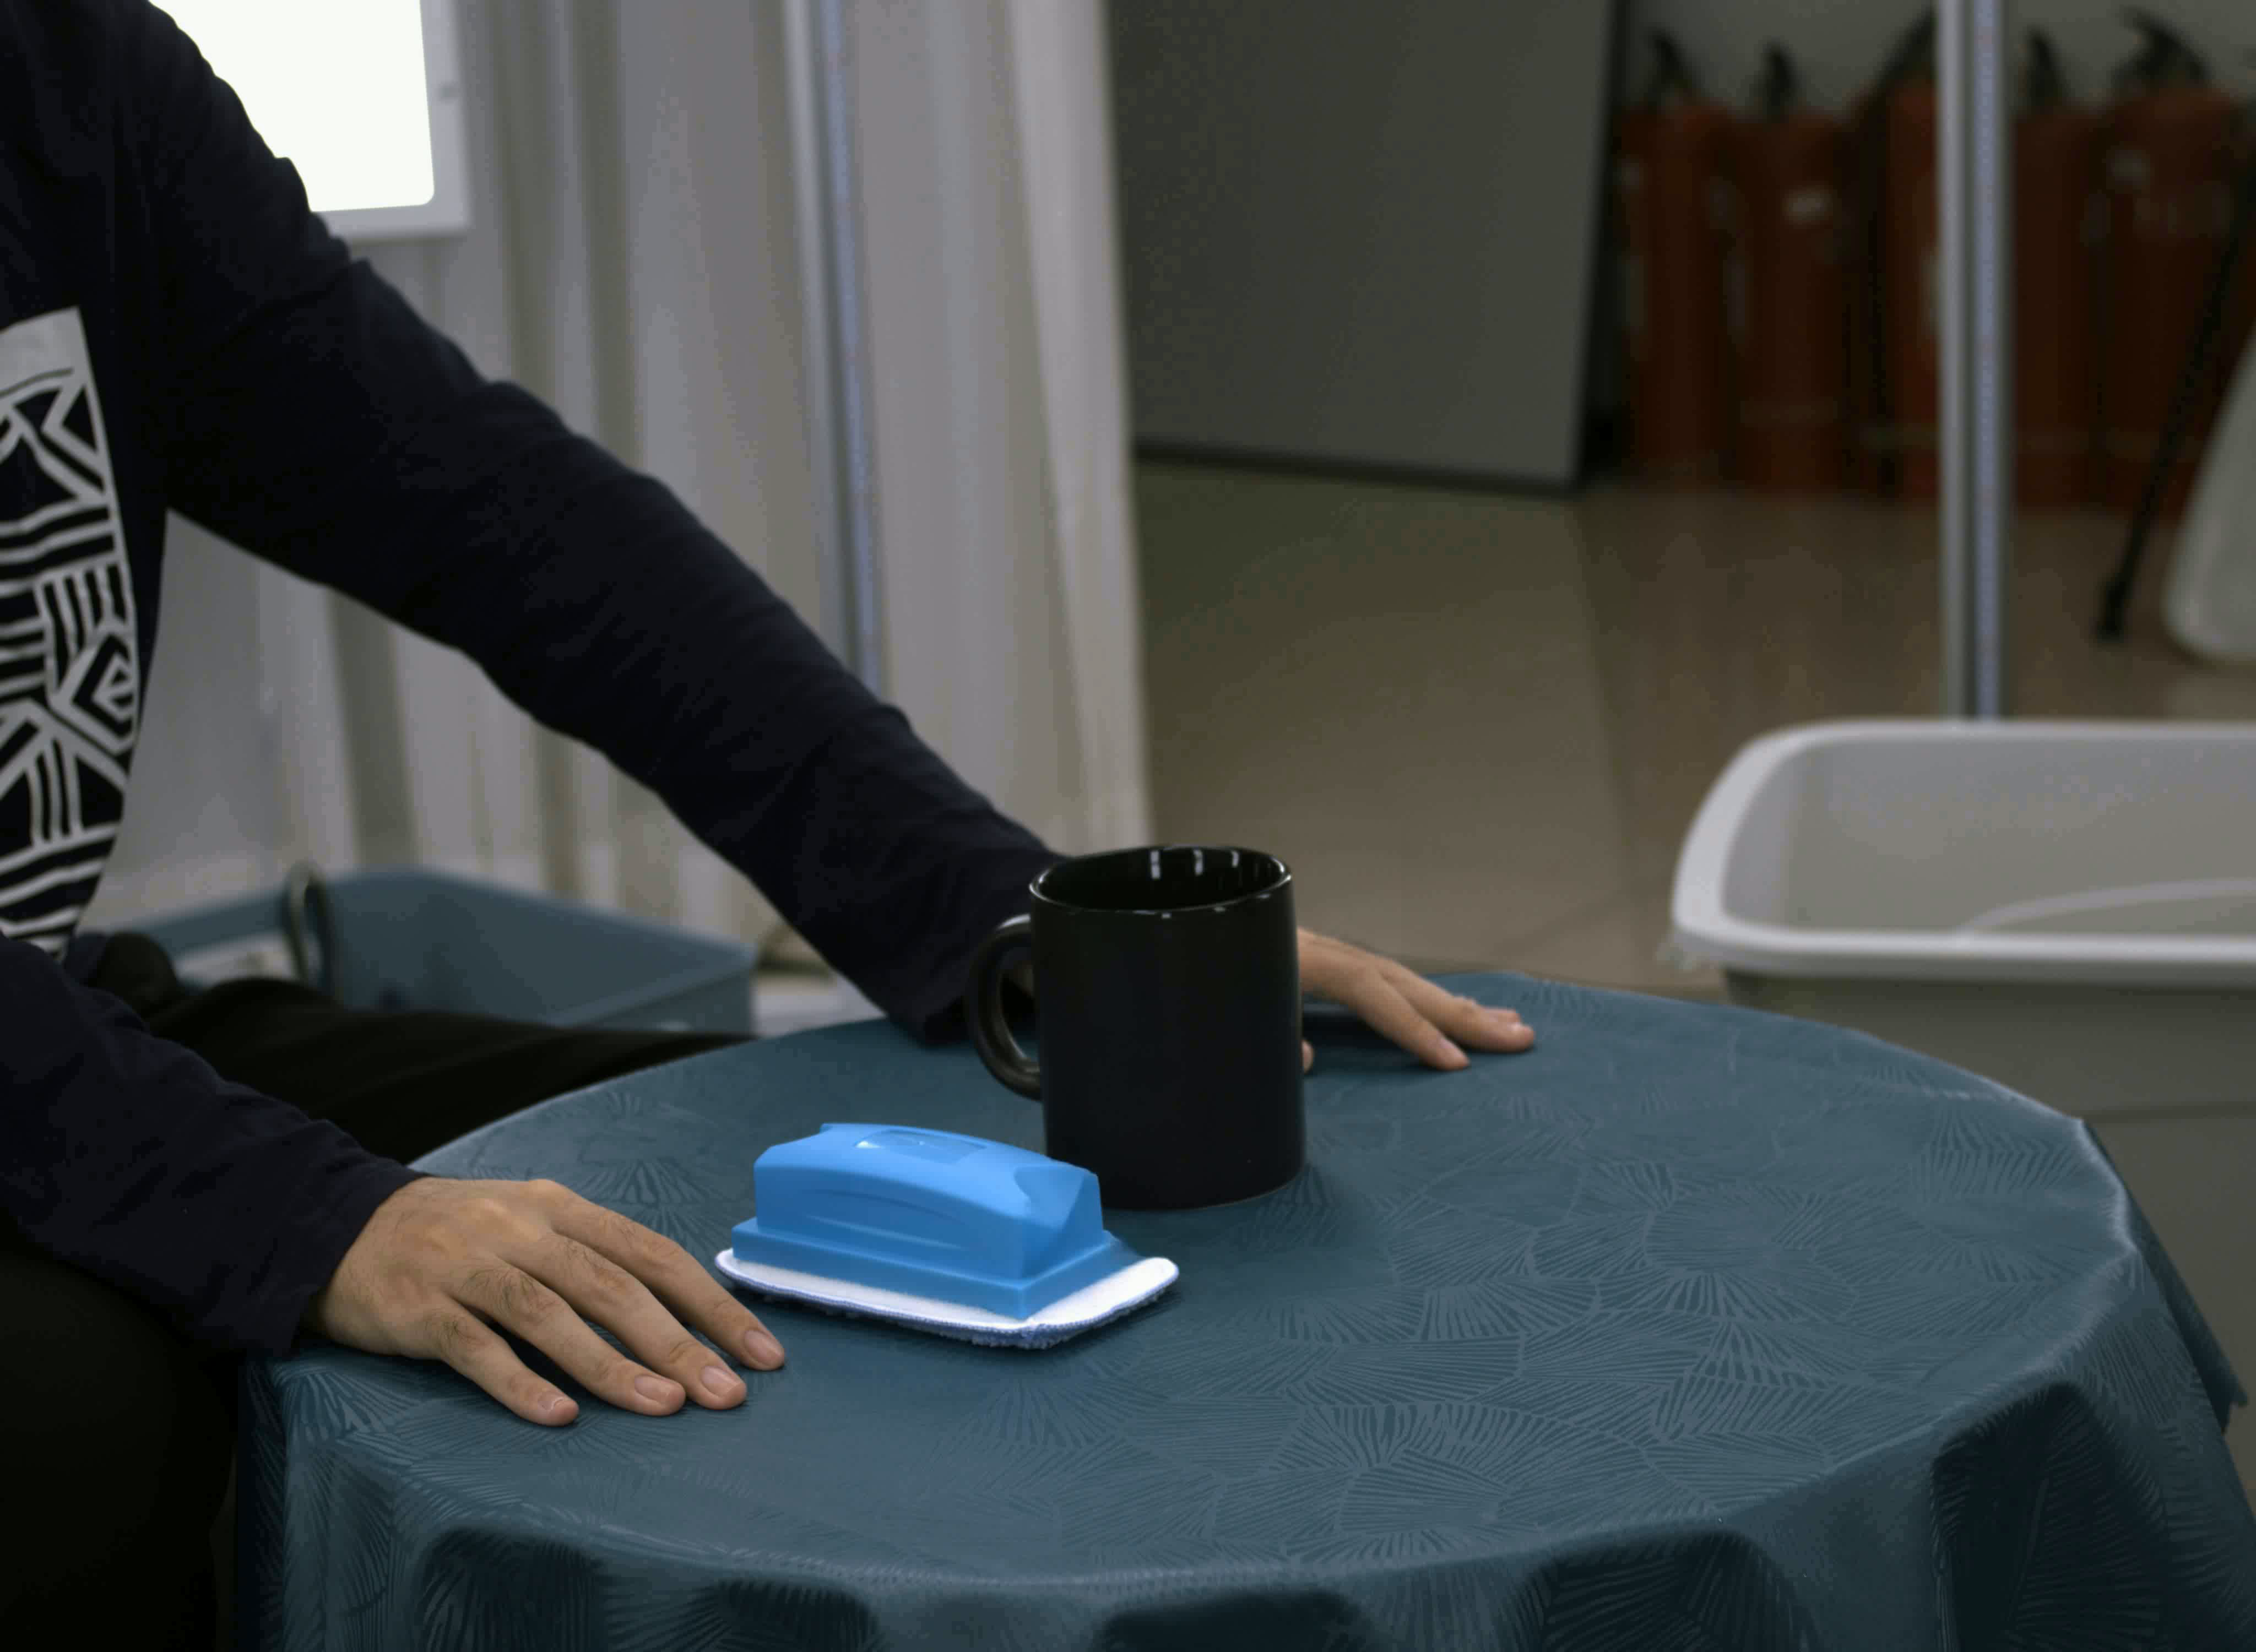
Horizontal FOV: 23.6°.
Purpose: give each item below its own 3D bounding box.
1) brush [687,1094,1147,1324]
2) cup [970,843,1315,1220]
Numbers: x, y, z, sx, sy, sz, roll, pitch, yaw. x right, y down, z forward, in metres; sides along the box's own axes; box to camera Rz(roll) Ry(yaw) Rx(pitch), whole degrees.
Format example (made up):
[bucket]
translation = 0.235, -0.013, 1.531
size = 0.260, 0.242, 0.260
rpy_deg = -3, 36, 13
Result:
[brush]
translation = -0.065, 0.118, 1.682
size = 0.145, 0.056, 0.082
rpy_deg = 11, 17, 40
[cup]
translation = 0.000, 0.066, 1.788
size = 0.124, 0.106, 0.087
rpy_deg = 2, 16, 35
